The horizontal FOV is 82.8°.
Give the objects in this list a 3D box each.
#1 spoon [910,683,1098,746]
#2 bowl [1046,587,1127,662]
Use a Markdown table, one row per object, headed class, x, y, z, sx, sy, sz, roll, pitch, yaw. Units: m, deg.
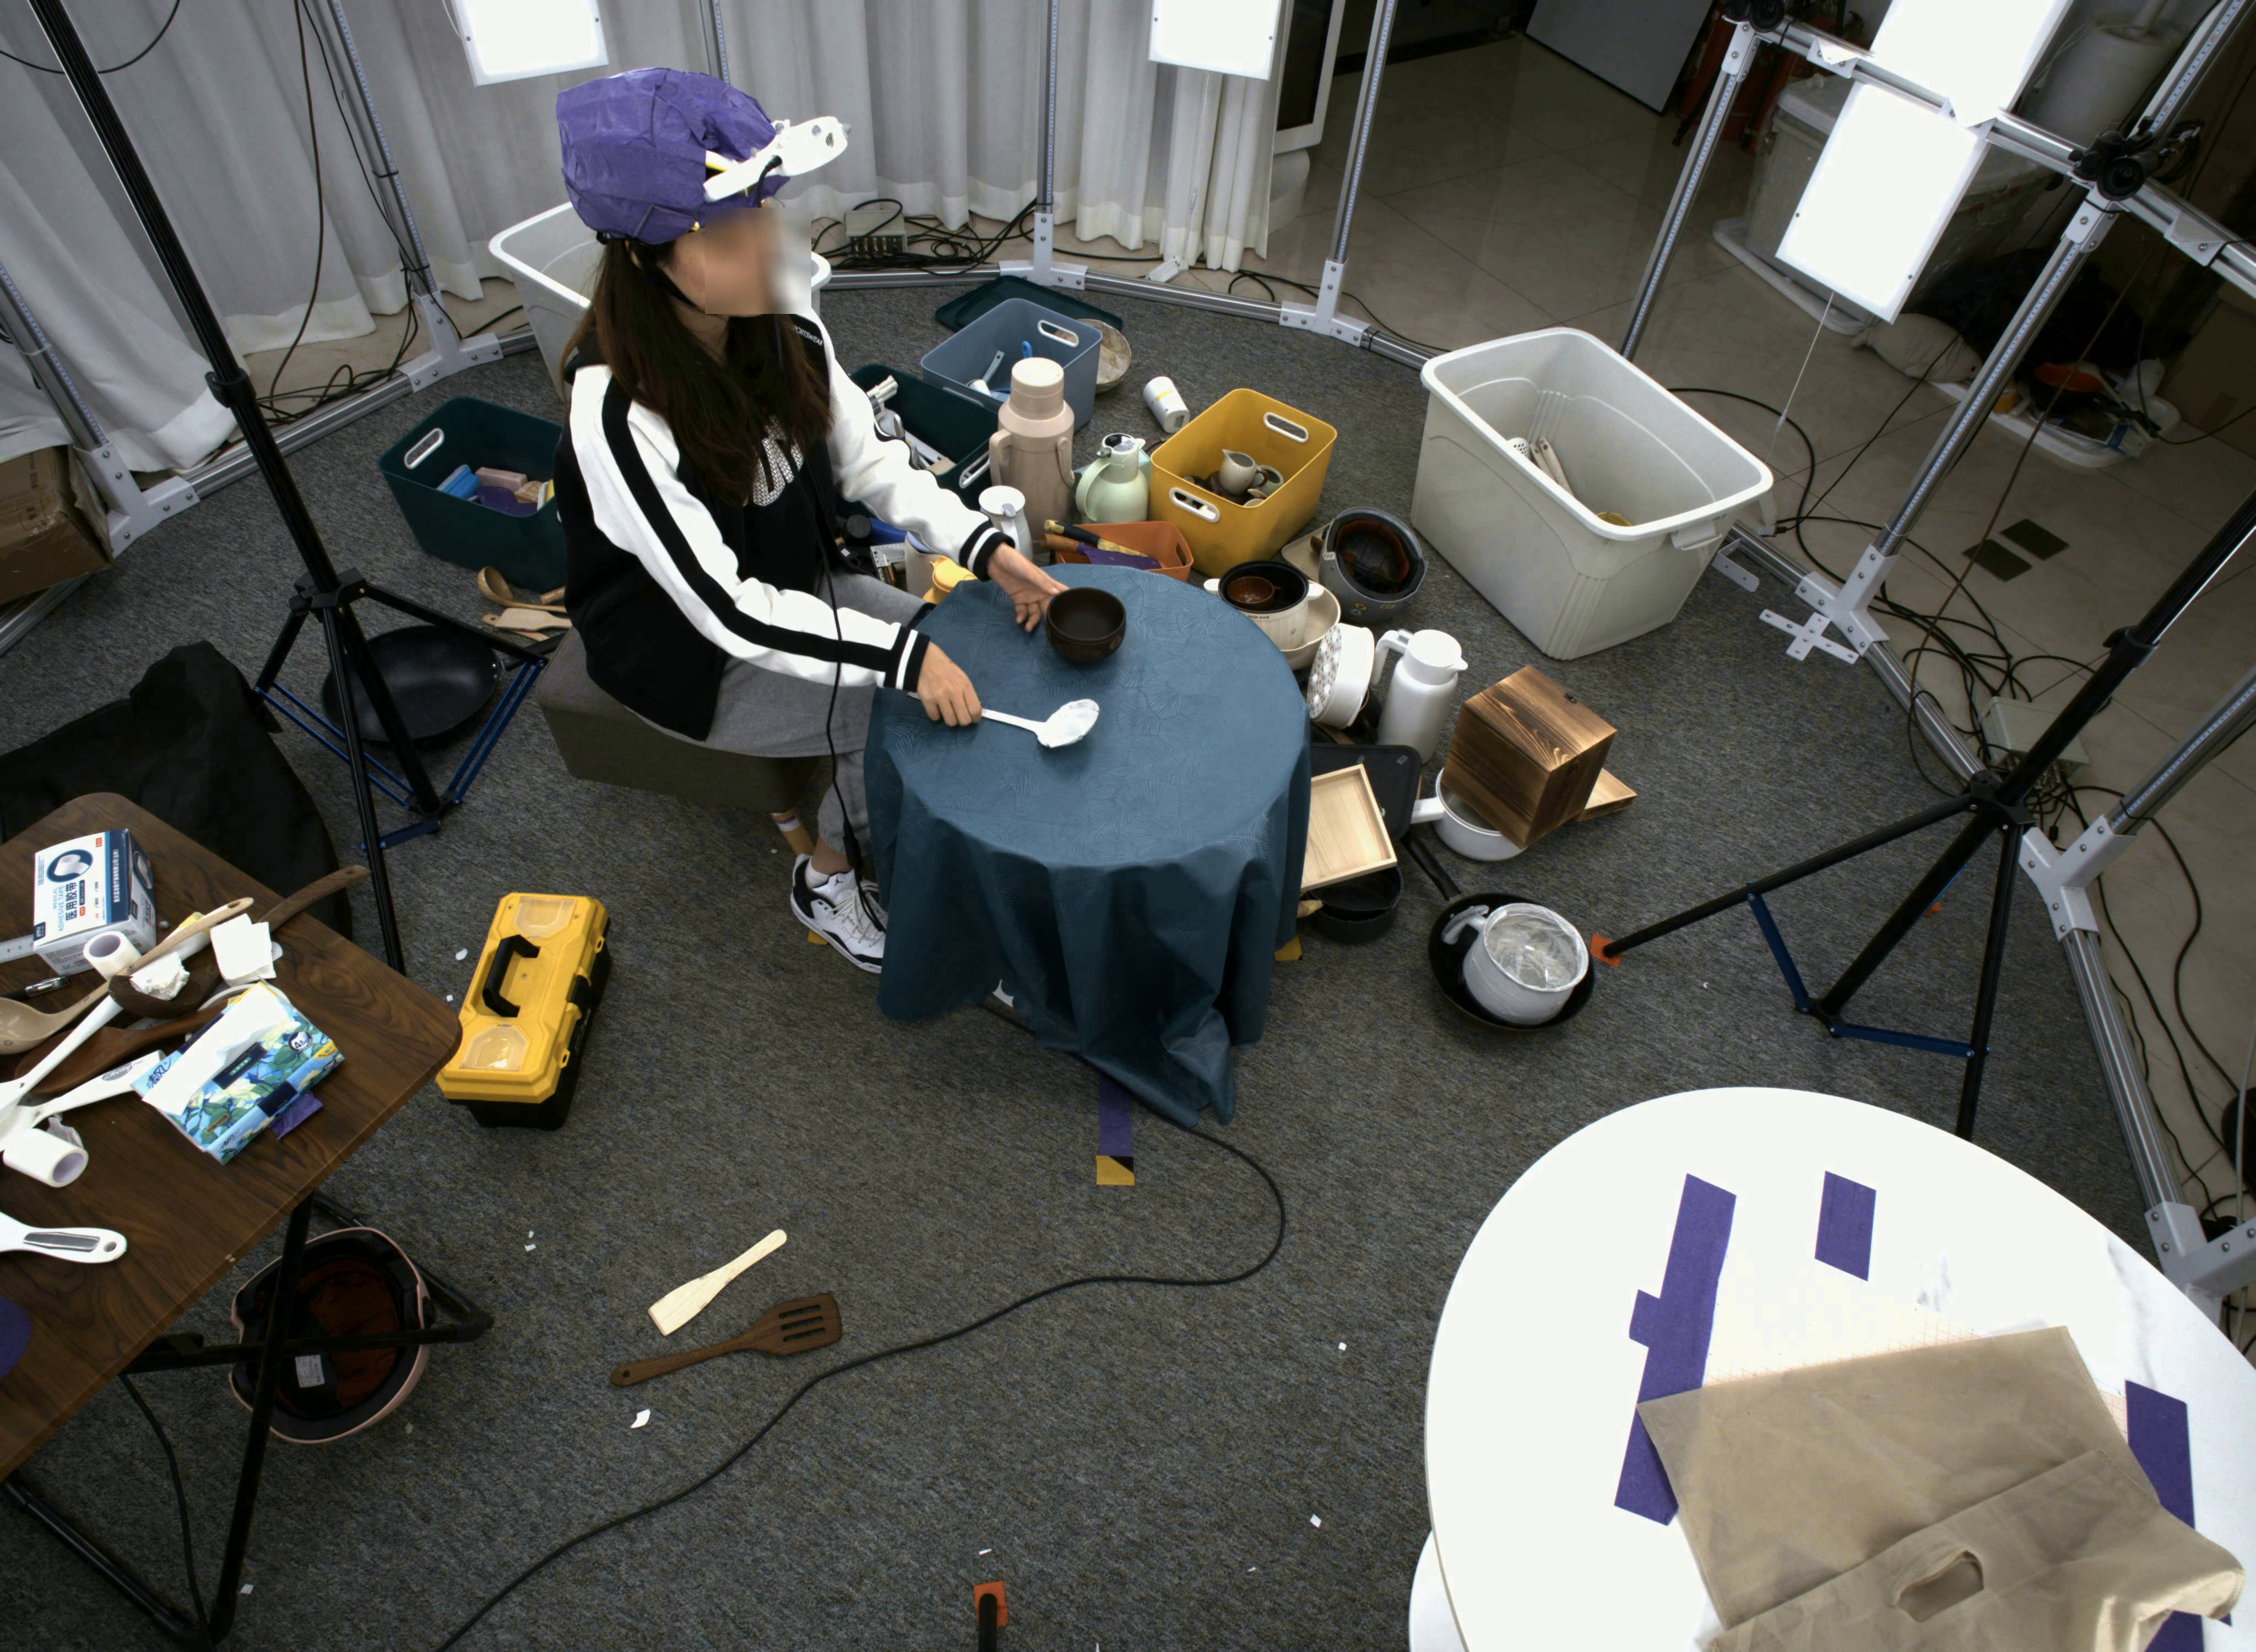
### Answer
| class | x | y | z | sx | sy | sz | roll | pitch | yaw |
| --- | --- | --- | --- | --- | --- | --- | --- | --- | --- |
| spoon | -0.173 | -0.174 | 1.772 | 0.278 | 0.058 | 0.102 | 19 | 48 | 12 |
| bowl | -0.061 | -0.284 | 1.865 | 0.118 | 0.068 | 0.121 | 2 | 49 | -2 |
